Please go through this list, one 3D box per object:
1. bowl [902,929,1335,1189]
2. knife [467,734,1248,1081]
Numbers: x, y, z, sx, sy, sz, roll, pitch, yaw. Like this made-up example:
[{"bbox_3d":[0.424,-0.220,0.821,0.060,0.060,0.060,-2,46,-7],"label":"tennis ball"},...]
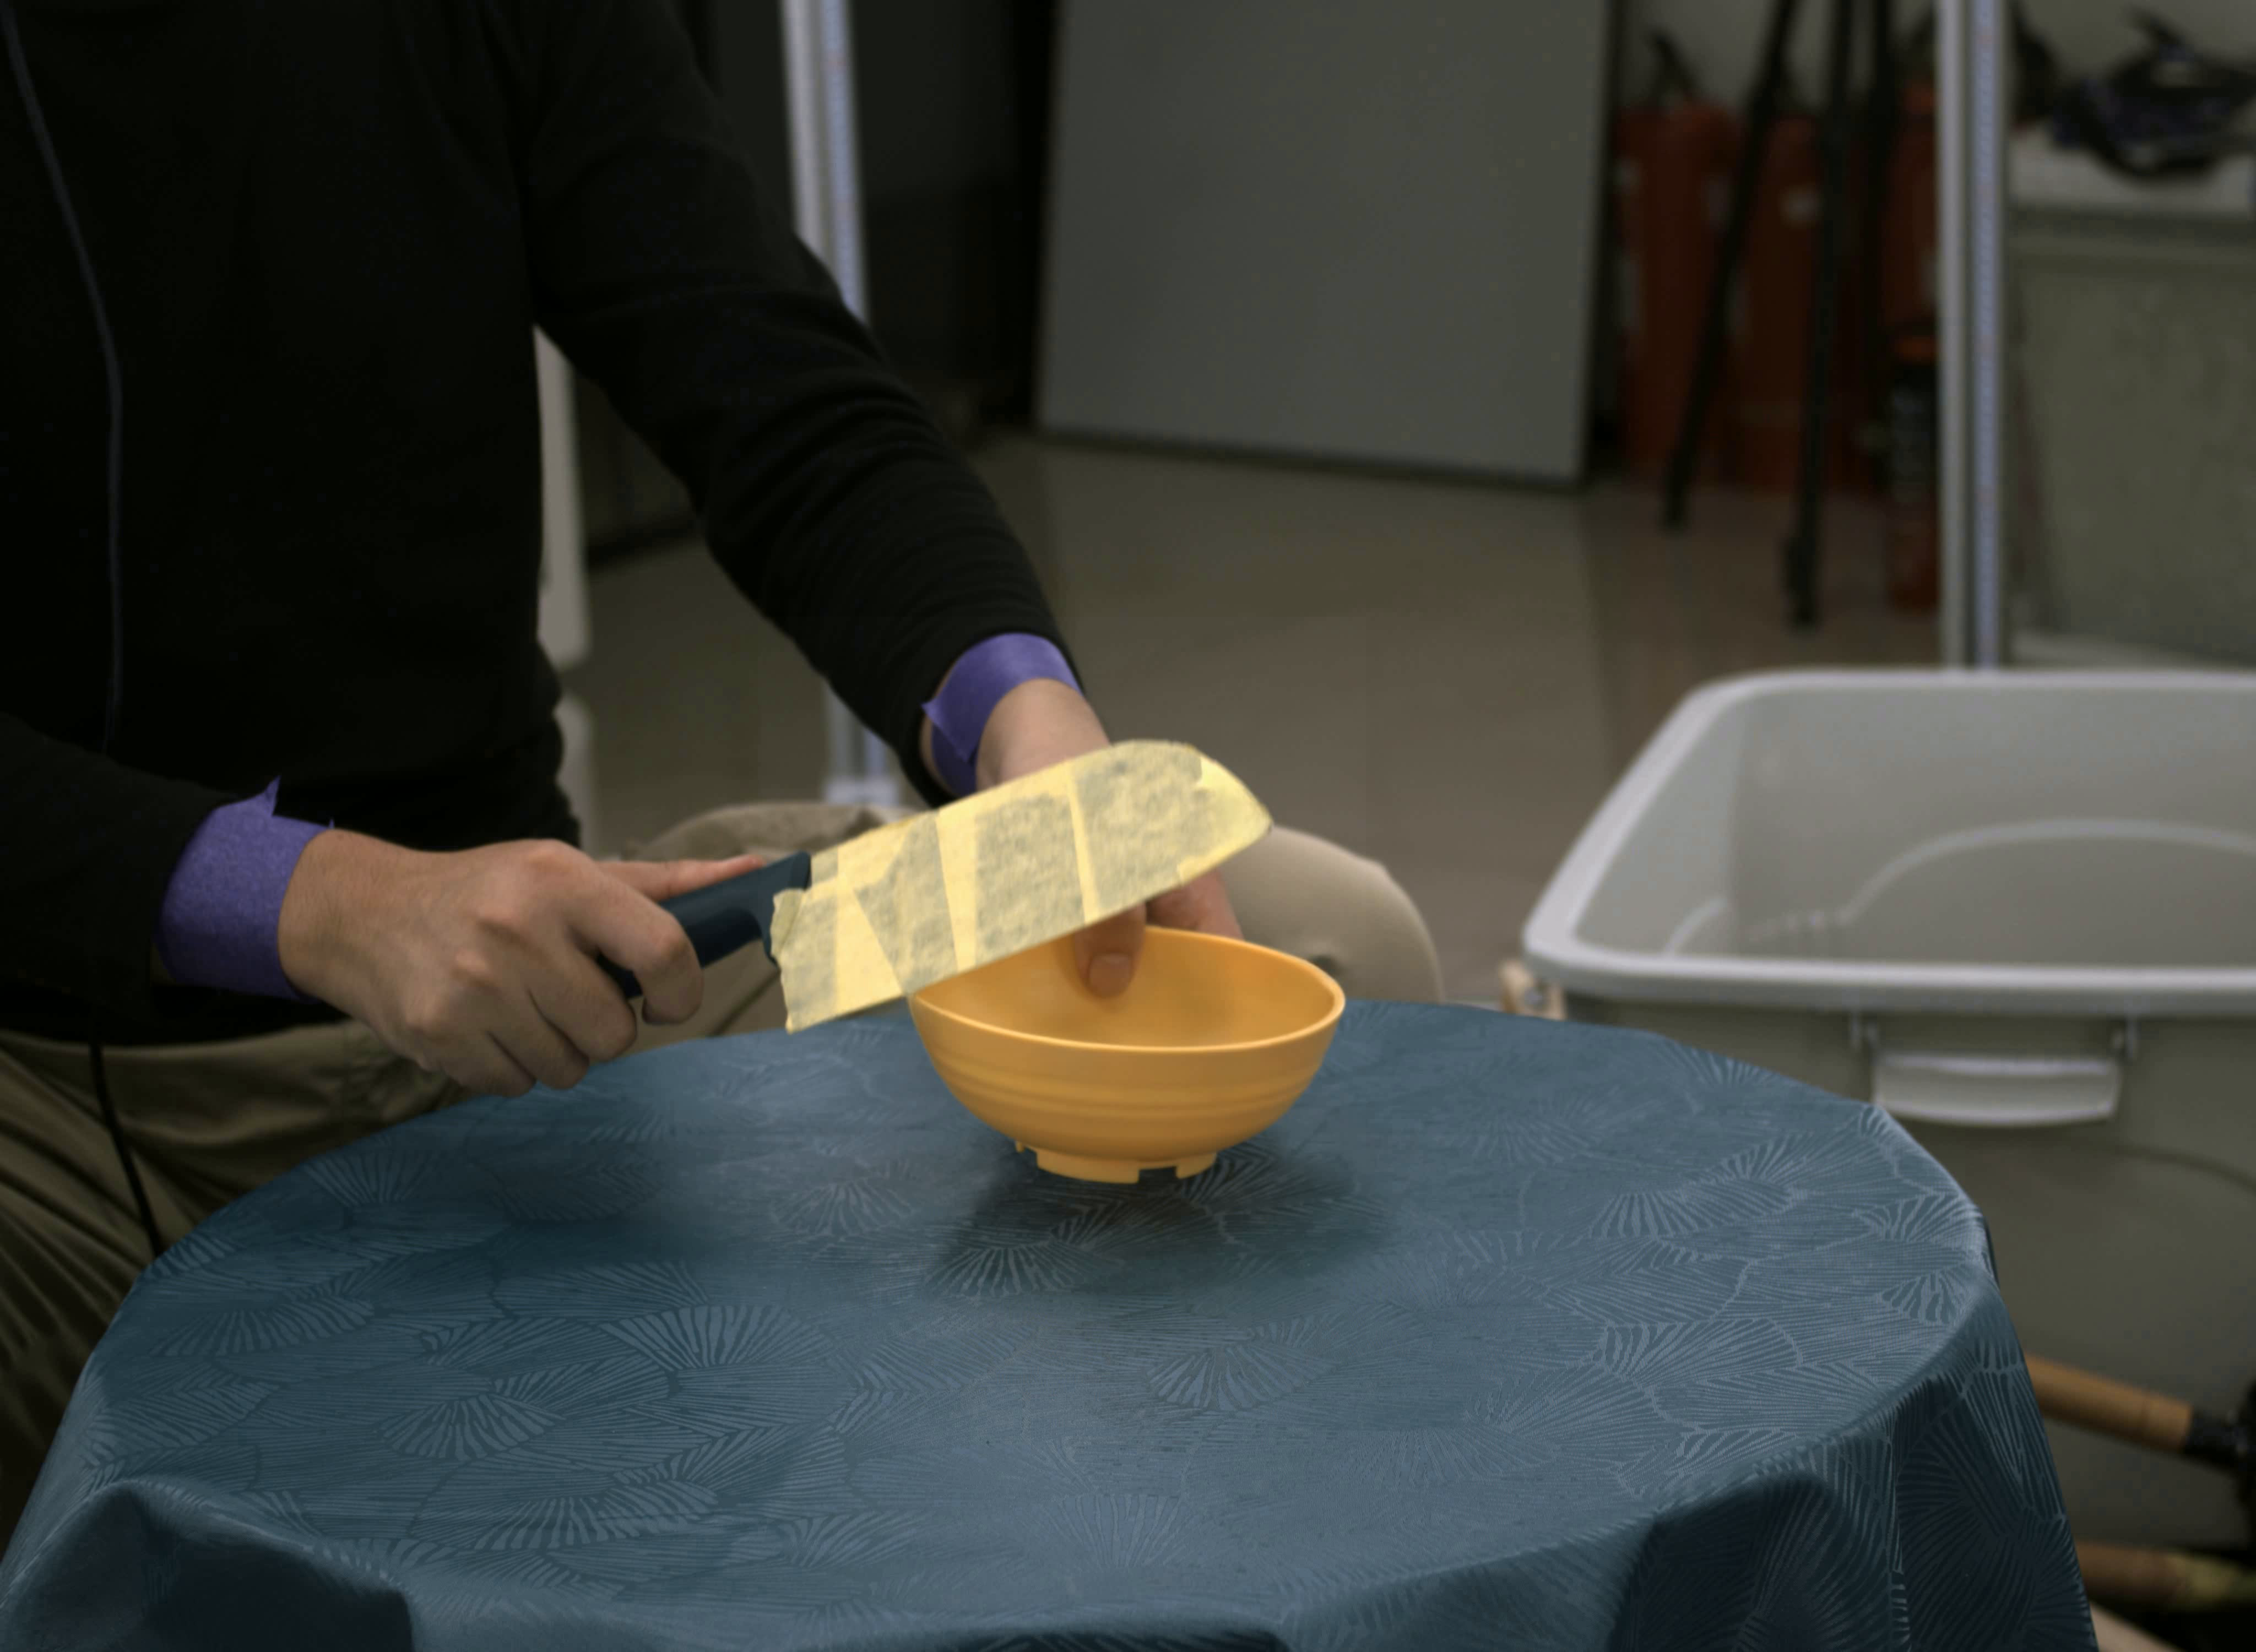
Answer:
[{"bbox_3d":[-0.005,0.080,1.765,0.143,0.061,0.145,3,13,-2],"label":"bowl"},{"bbox_3d":[-0.089,0.034,1.754,0.289,0.027,0.082,-21,43,19],"label":"knife"}]
